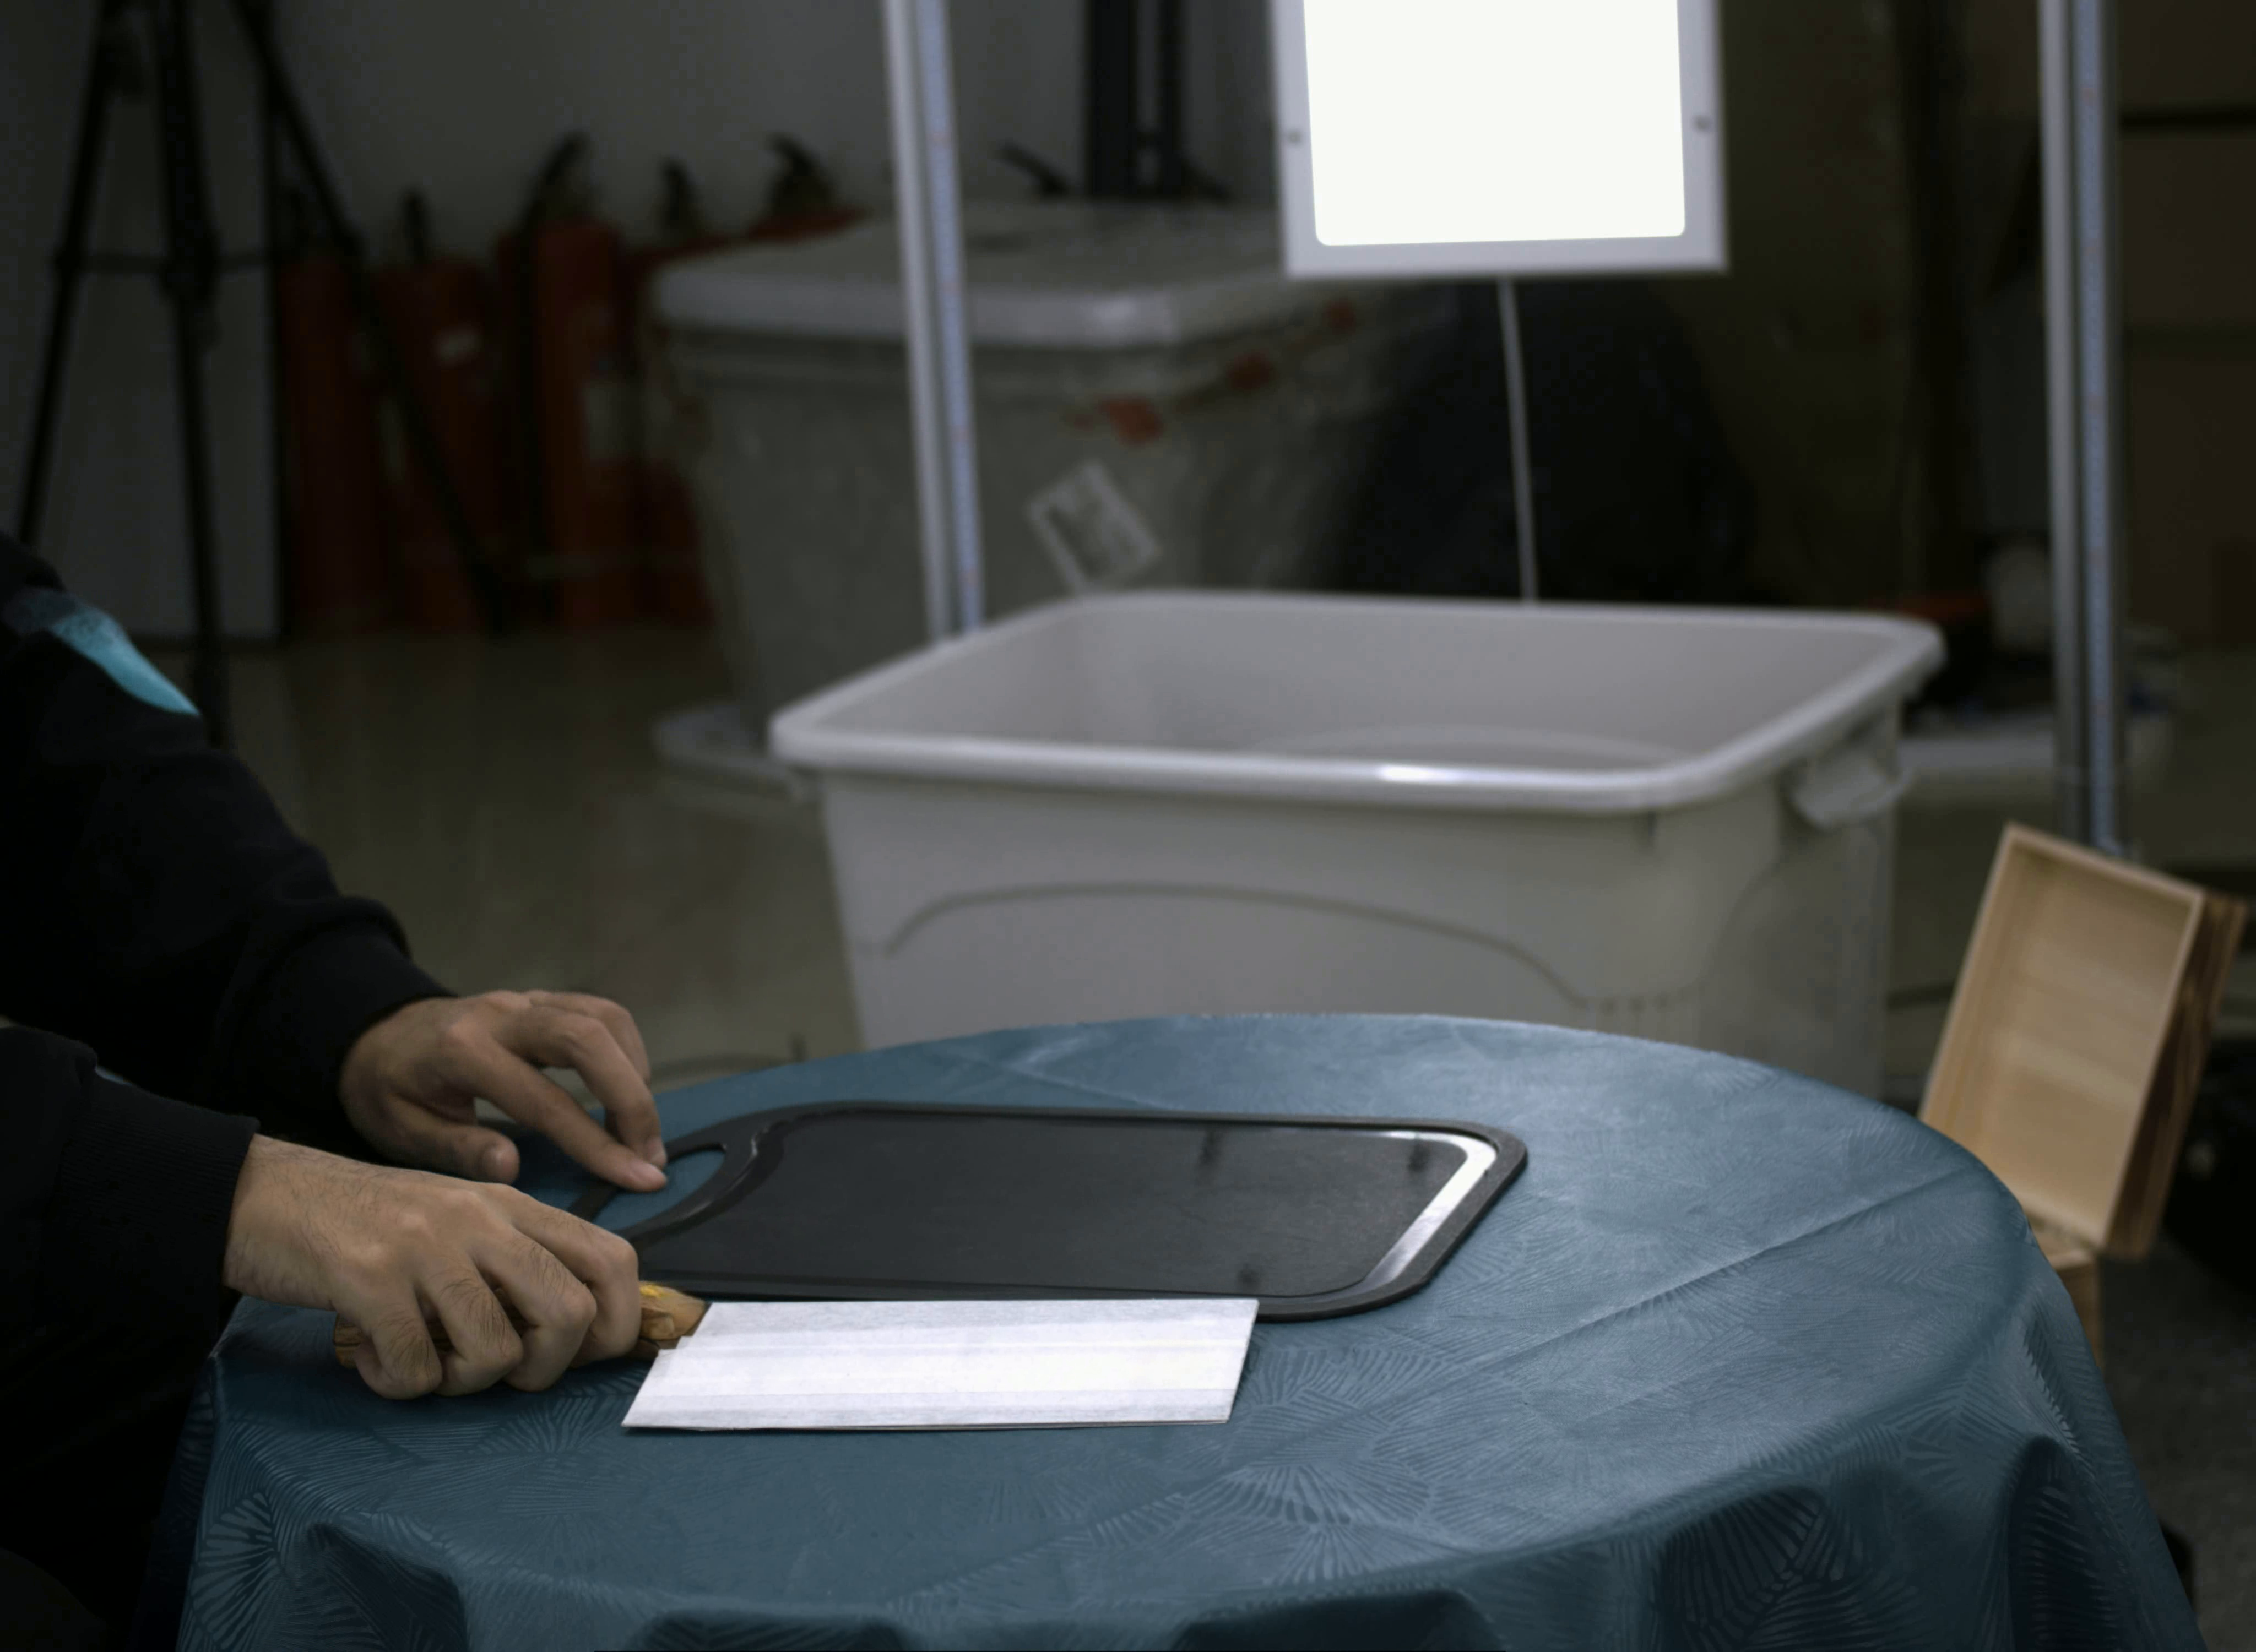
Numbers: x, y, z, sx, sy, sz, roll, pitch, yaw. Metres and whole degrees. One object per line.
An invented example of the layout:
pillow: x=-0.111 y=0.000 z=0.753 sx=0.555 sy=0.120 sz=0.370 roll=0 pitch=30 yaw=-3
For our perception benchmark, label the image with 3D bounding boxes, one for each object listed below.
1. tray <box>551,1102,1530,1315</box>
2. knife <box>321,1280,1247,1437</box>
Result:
tray: x=-0.036 y=0.128 z=1.888 sx=0.330 sy=0.010 sz=0.207 roll=1 pitch=15 yaw=21
knife: x=-0.113 y=0.169 z=1.738 sx=0.308 sy=0.021 sz=0.092 roll=-2 pitch=20 yaw=11
